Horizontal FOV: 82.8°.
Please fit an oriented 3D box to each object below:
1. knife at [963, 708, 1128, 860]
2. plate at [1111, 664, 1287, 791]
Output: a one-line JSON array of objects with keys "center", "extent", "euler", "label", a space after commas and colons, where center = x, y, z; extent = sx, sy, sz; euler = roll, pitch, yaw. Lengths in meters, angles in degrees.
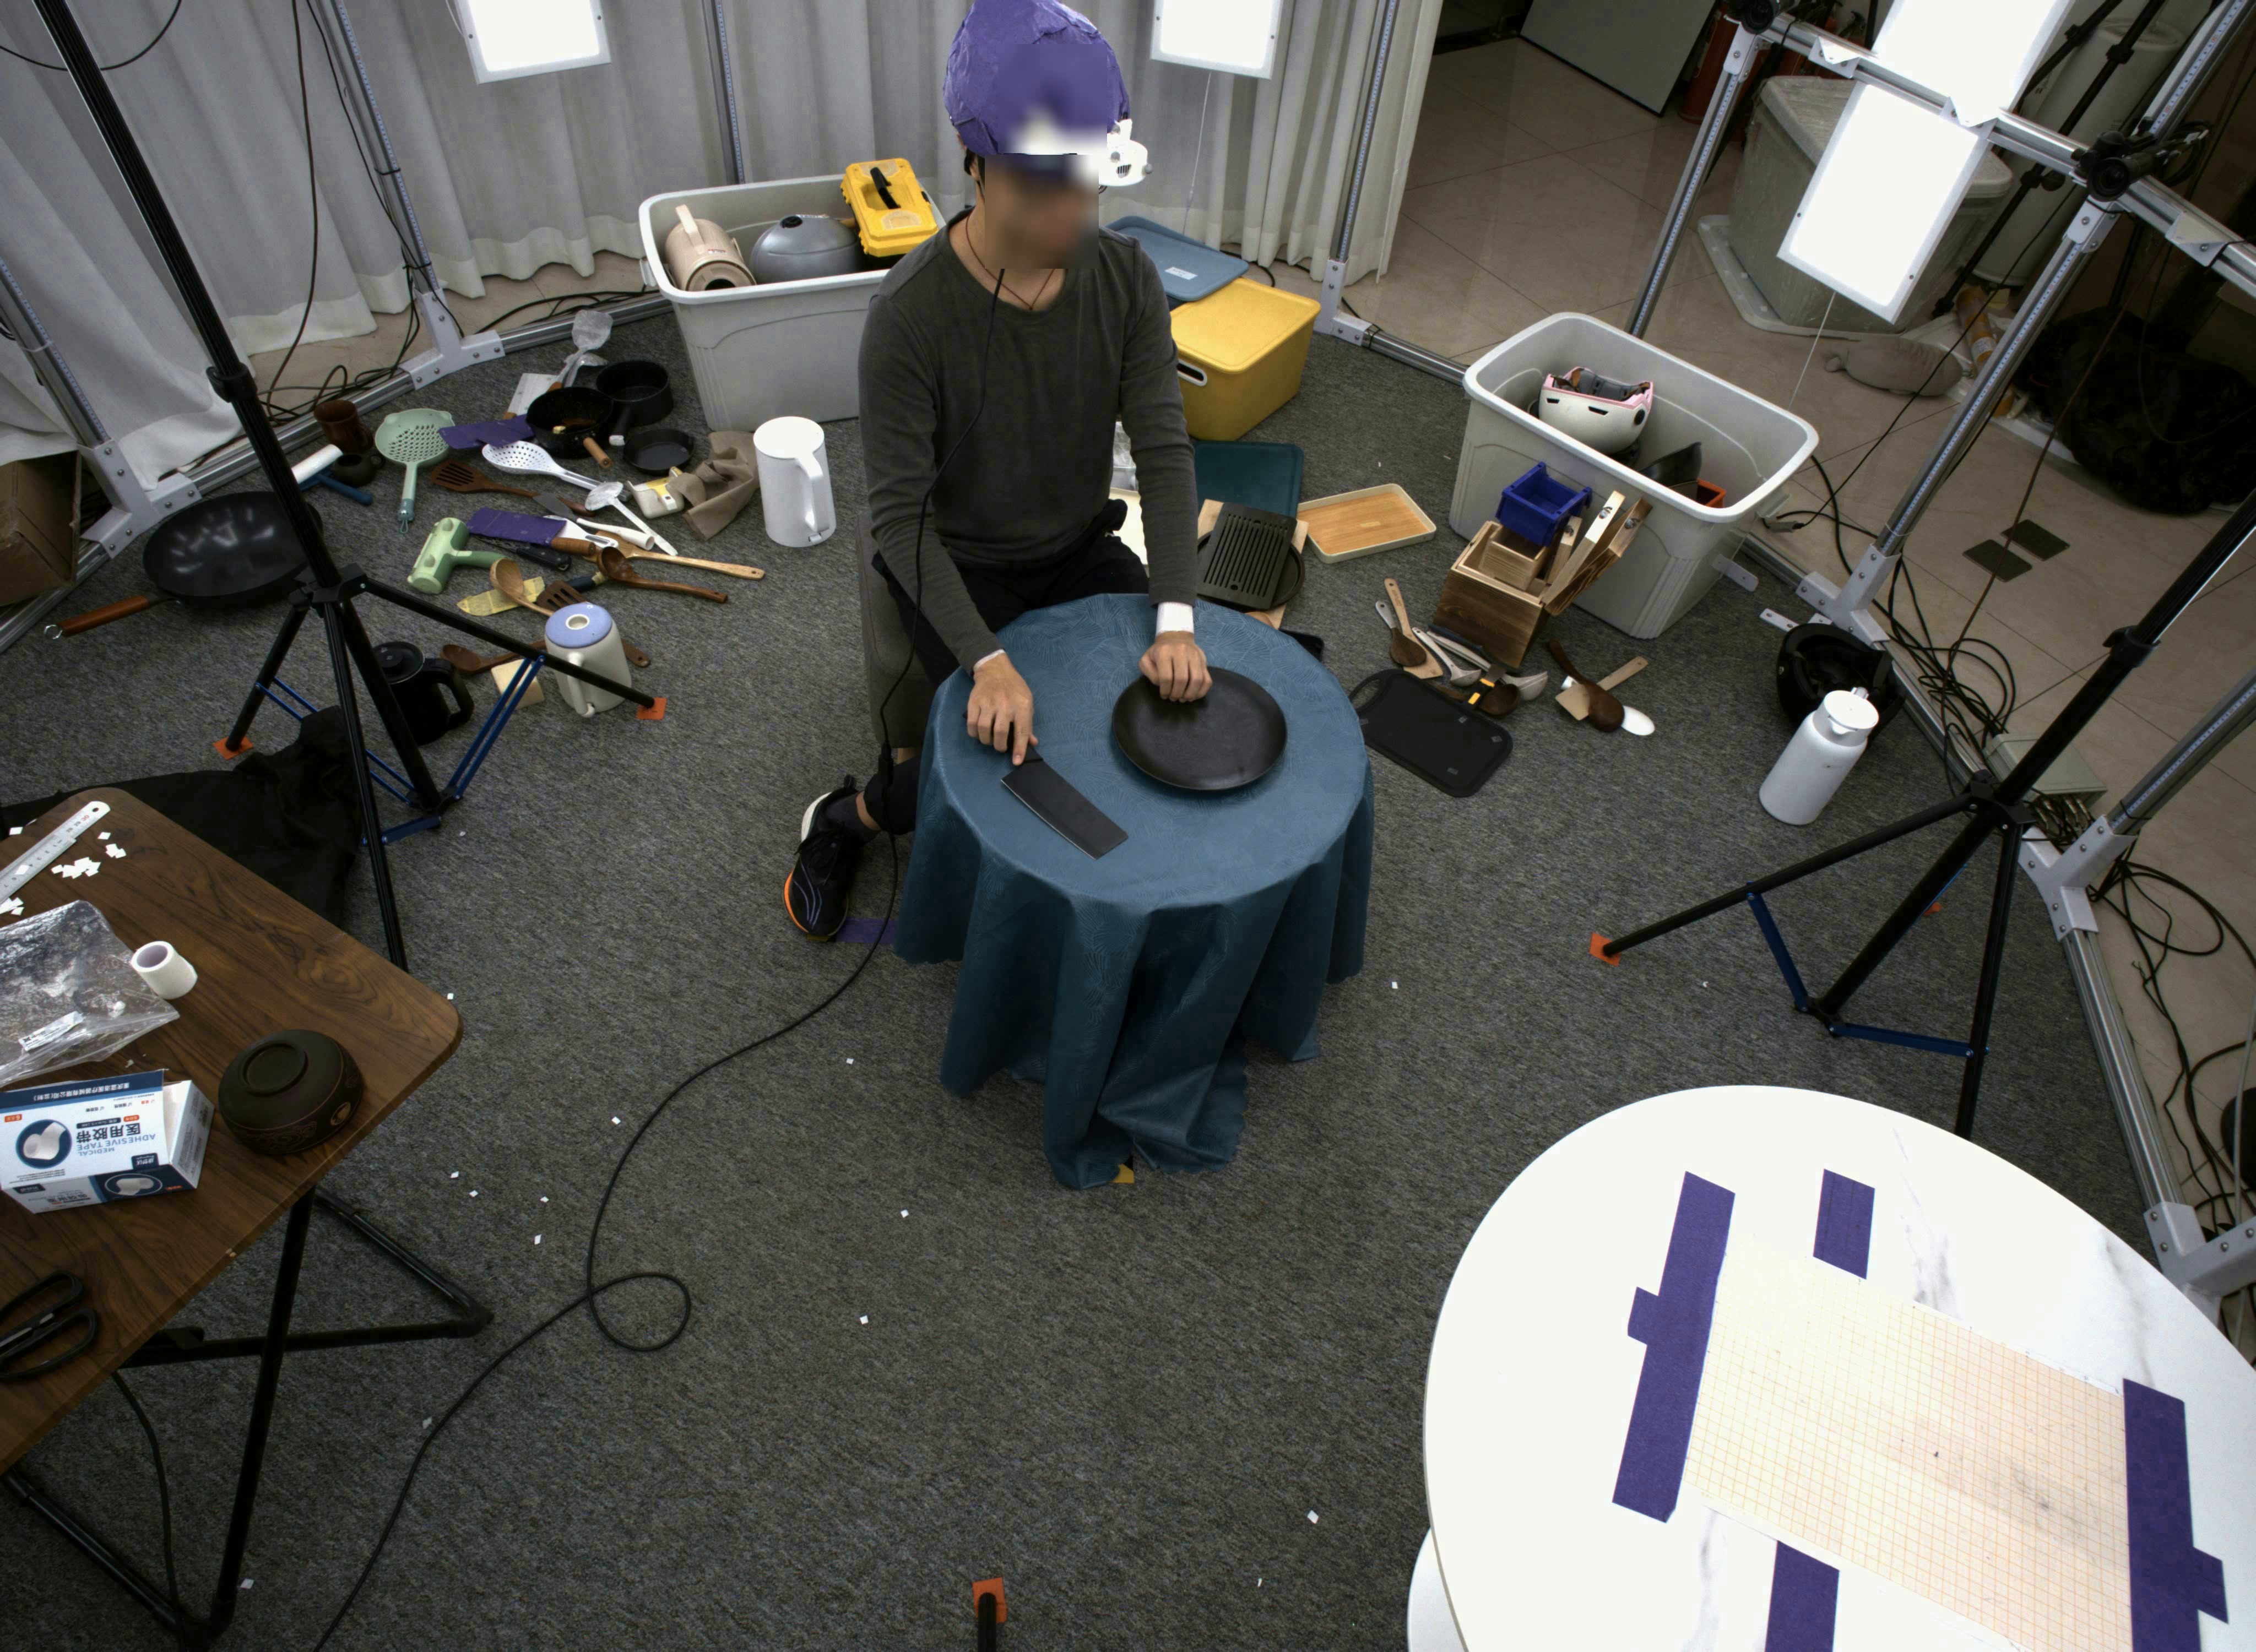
[{"center": [-0.122, -0.061, 1.704], "extent": [0.081, 0.020, 0.307], "euler": [-32, 59, -24], "label": "knife"}, {"center": [0.098, -0.134, 1.775], "extent": [0.244, 0.023, 0.250], "euler": [2, 49, -2], "label": "plate"}]
